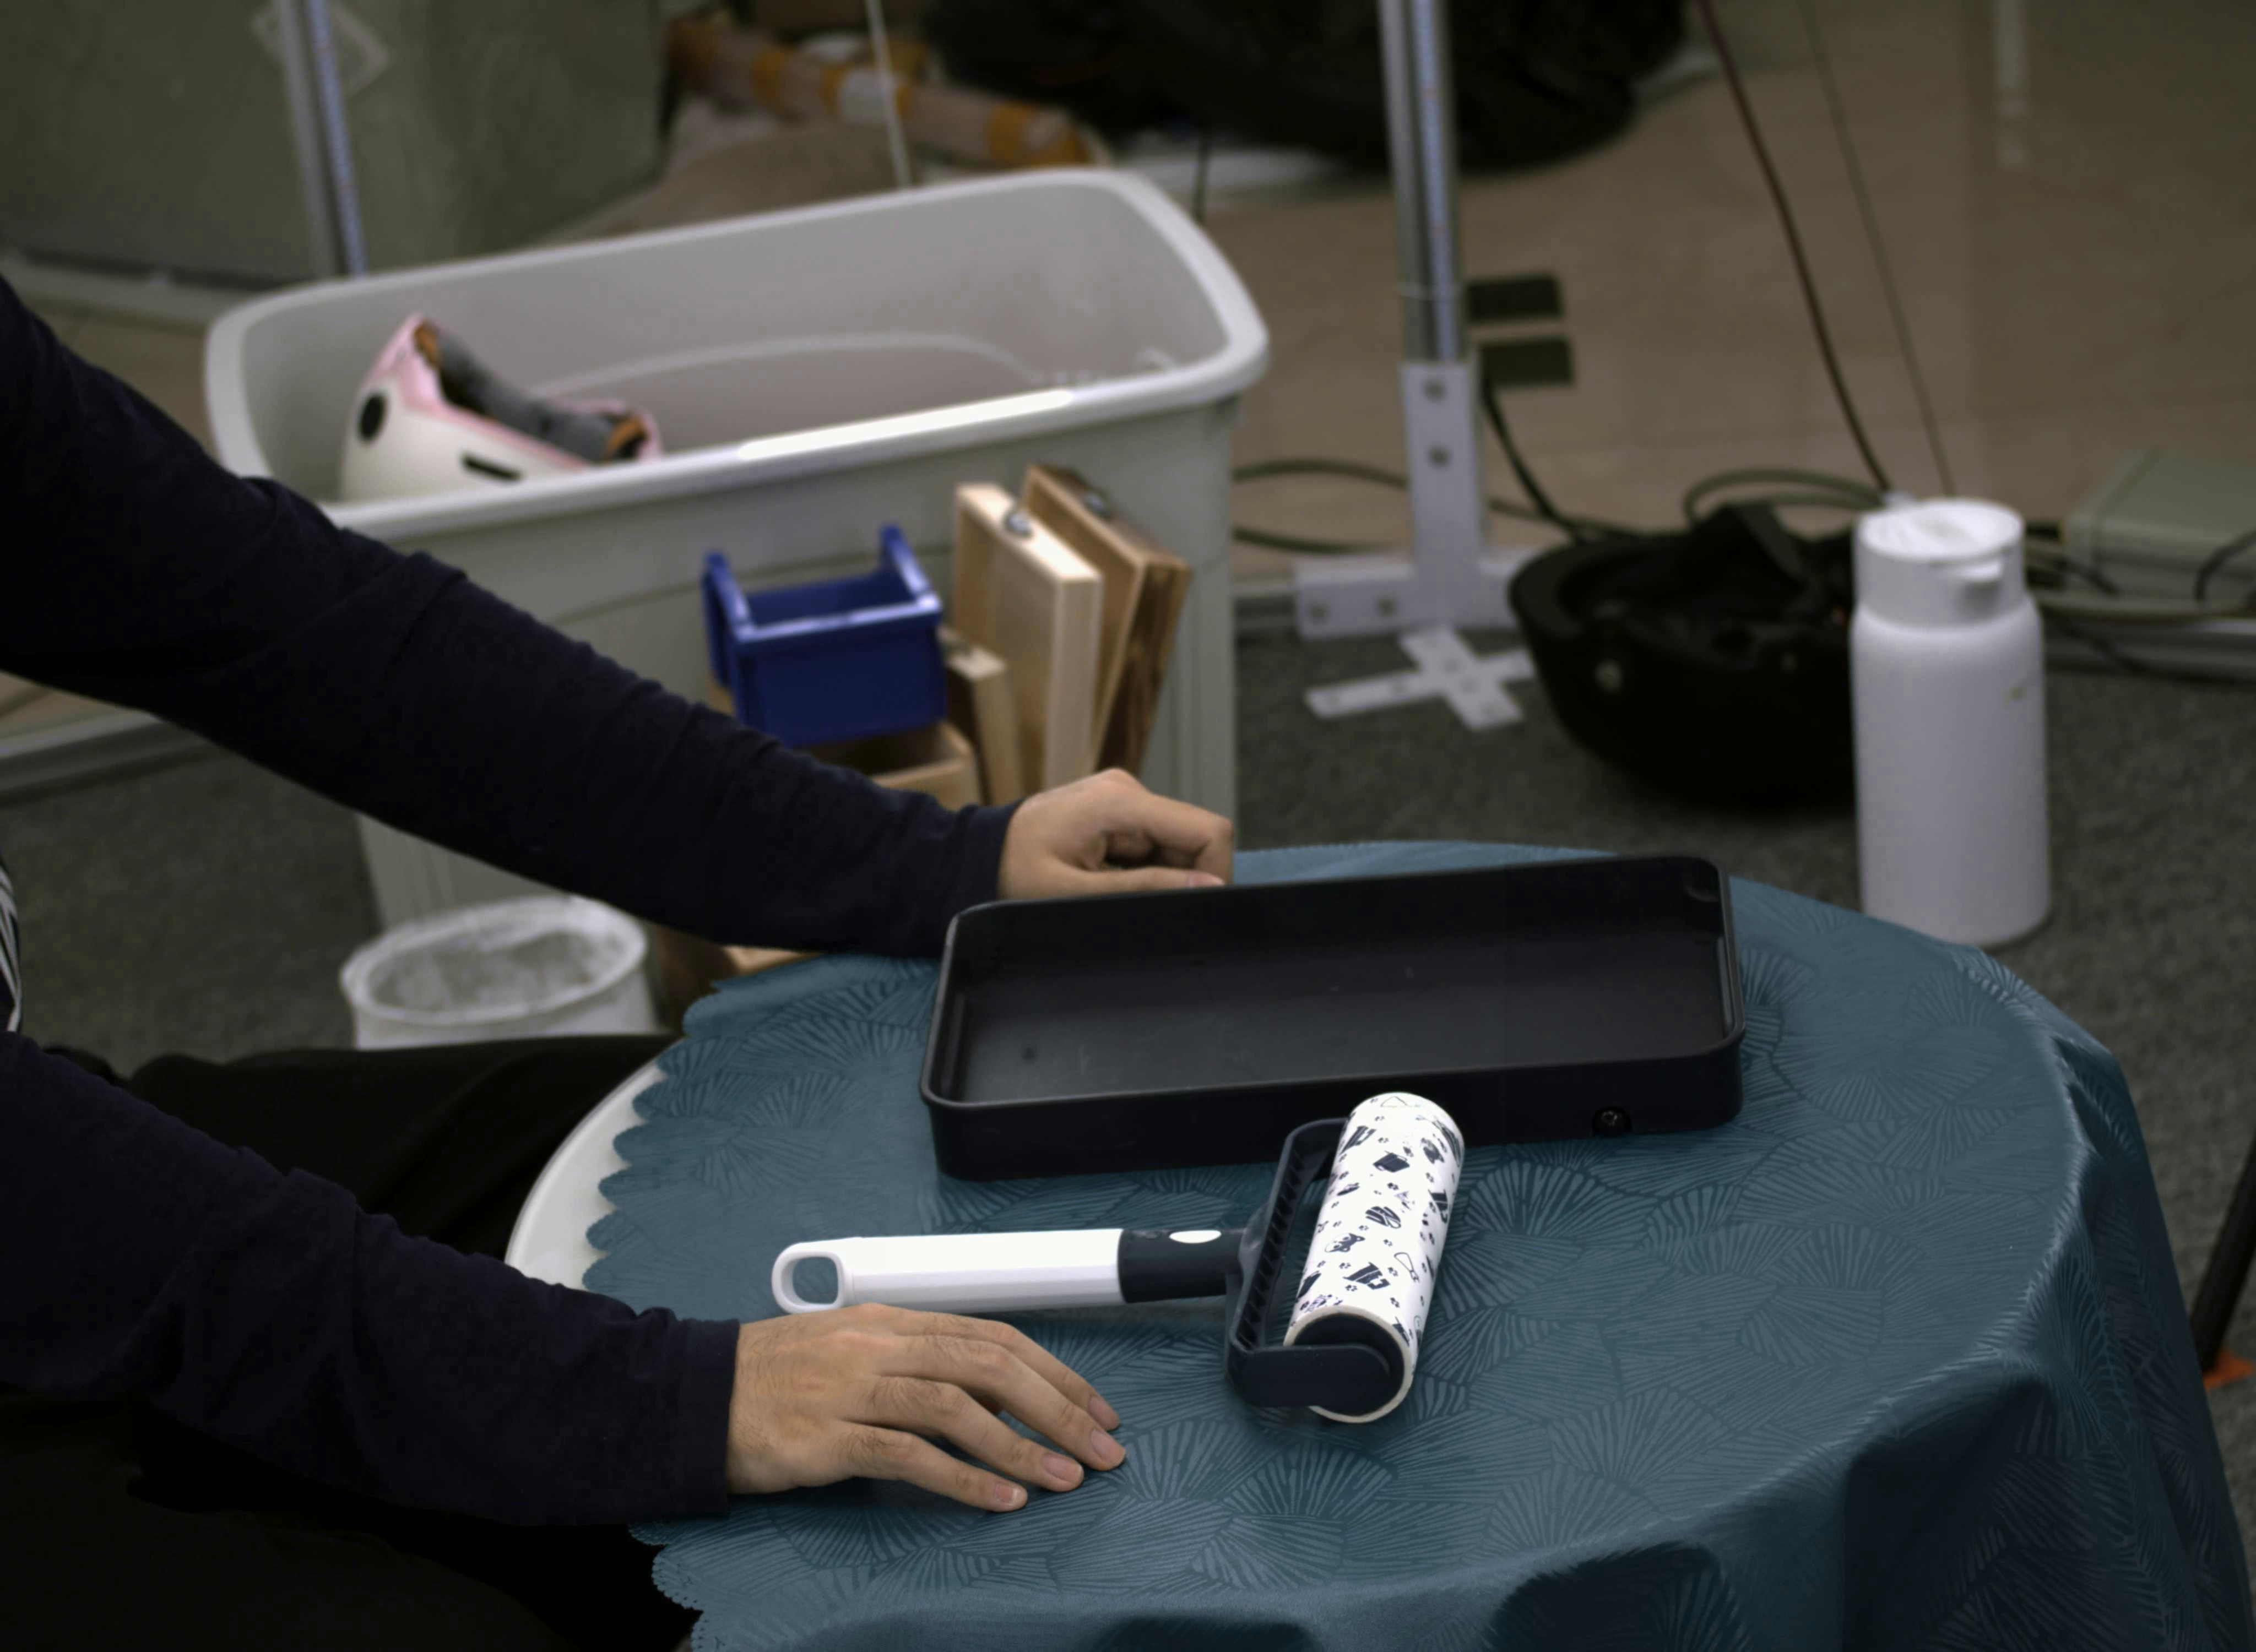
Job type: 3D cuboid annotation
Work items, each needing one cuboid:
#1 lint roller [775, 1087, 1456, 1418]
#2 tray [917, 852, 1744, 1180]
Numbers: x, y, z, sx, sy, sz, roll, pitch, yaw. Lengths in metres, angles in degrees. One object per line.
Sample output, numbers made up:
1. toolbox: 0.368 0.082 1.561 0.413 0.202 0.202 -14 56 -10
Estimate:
1. lint roller: -0.011 0.161 2.060 0.247 0.051 0.173 -5 25 12
2. tray: 0.082 0.073 2.231 0.317 0.037 0.181 -4 25 6
